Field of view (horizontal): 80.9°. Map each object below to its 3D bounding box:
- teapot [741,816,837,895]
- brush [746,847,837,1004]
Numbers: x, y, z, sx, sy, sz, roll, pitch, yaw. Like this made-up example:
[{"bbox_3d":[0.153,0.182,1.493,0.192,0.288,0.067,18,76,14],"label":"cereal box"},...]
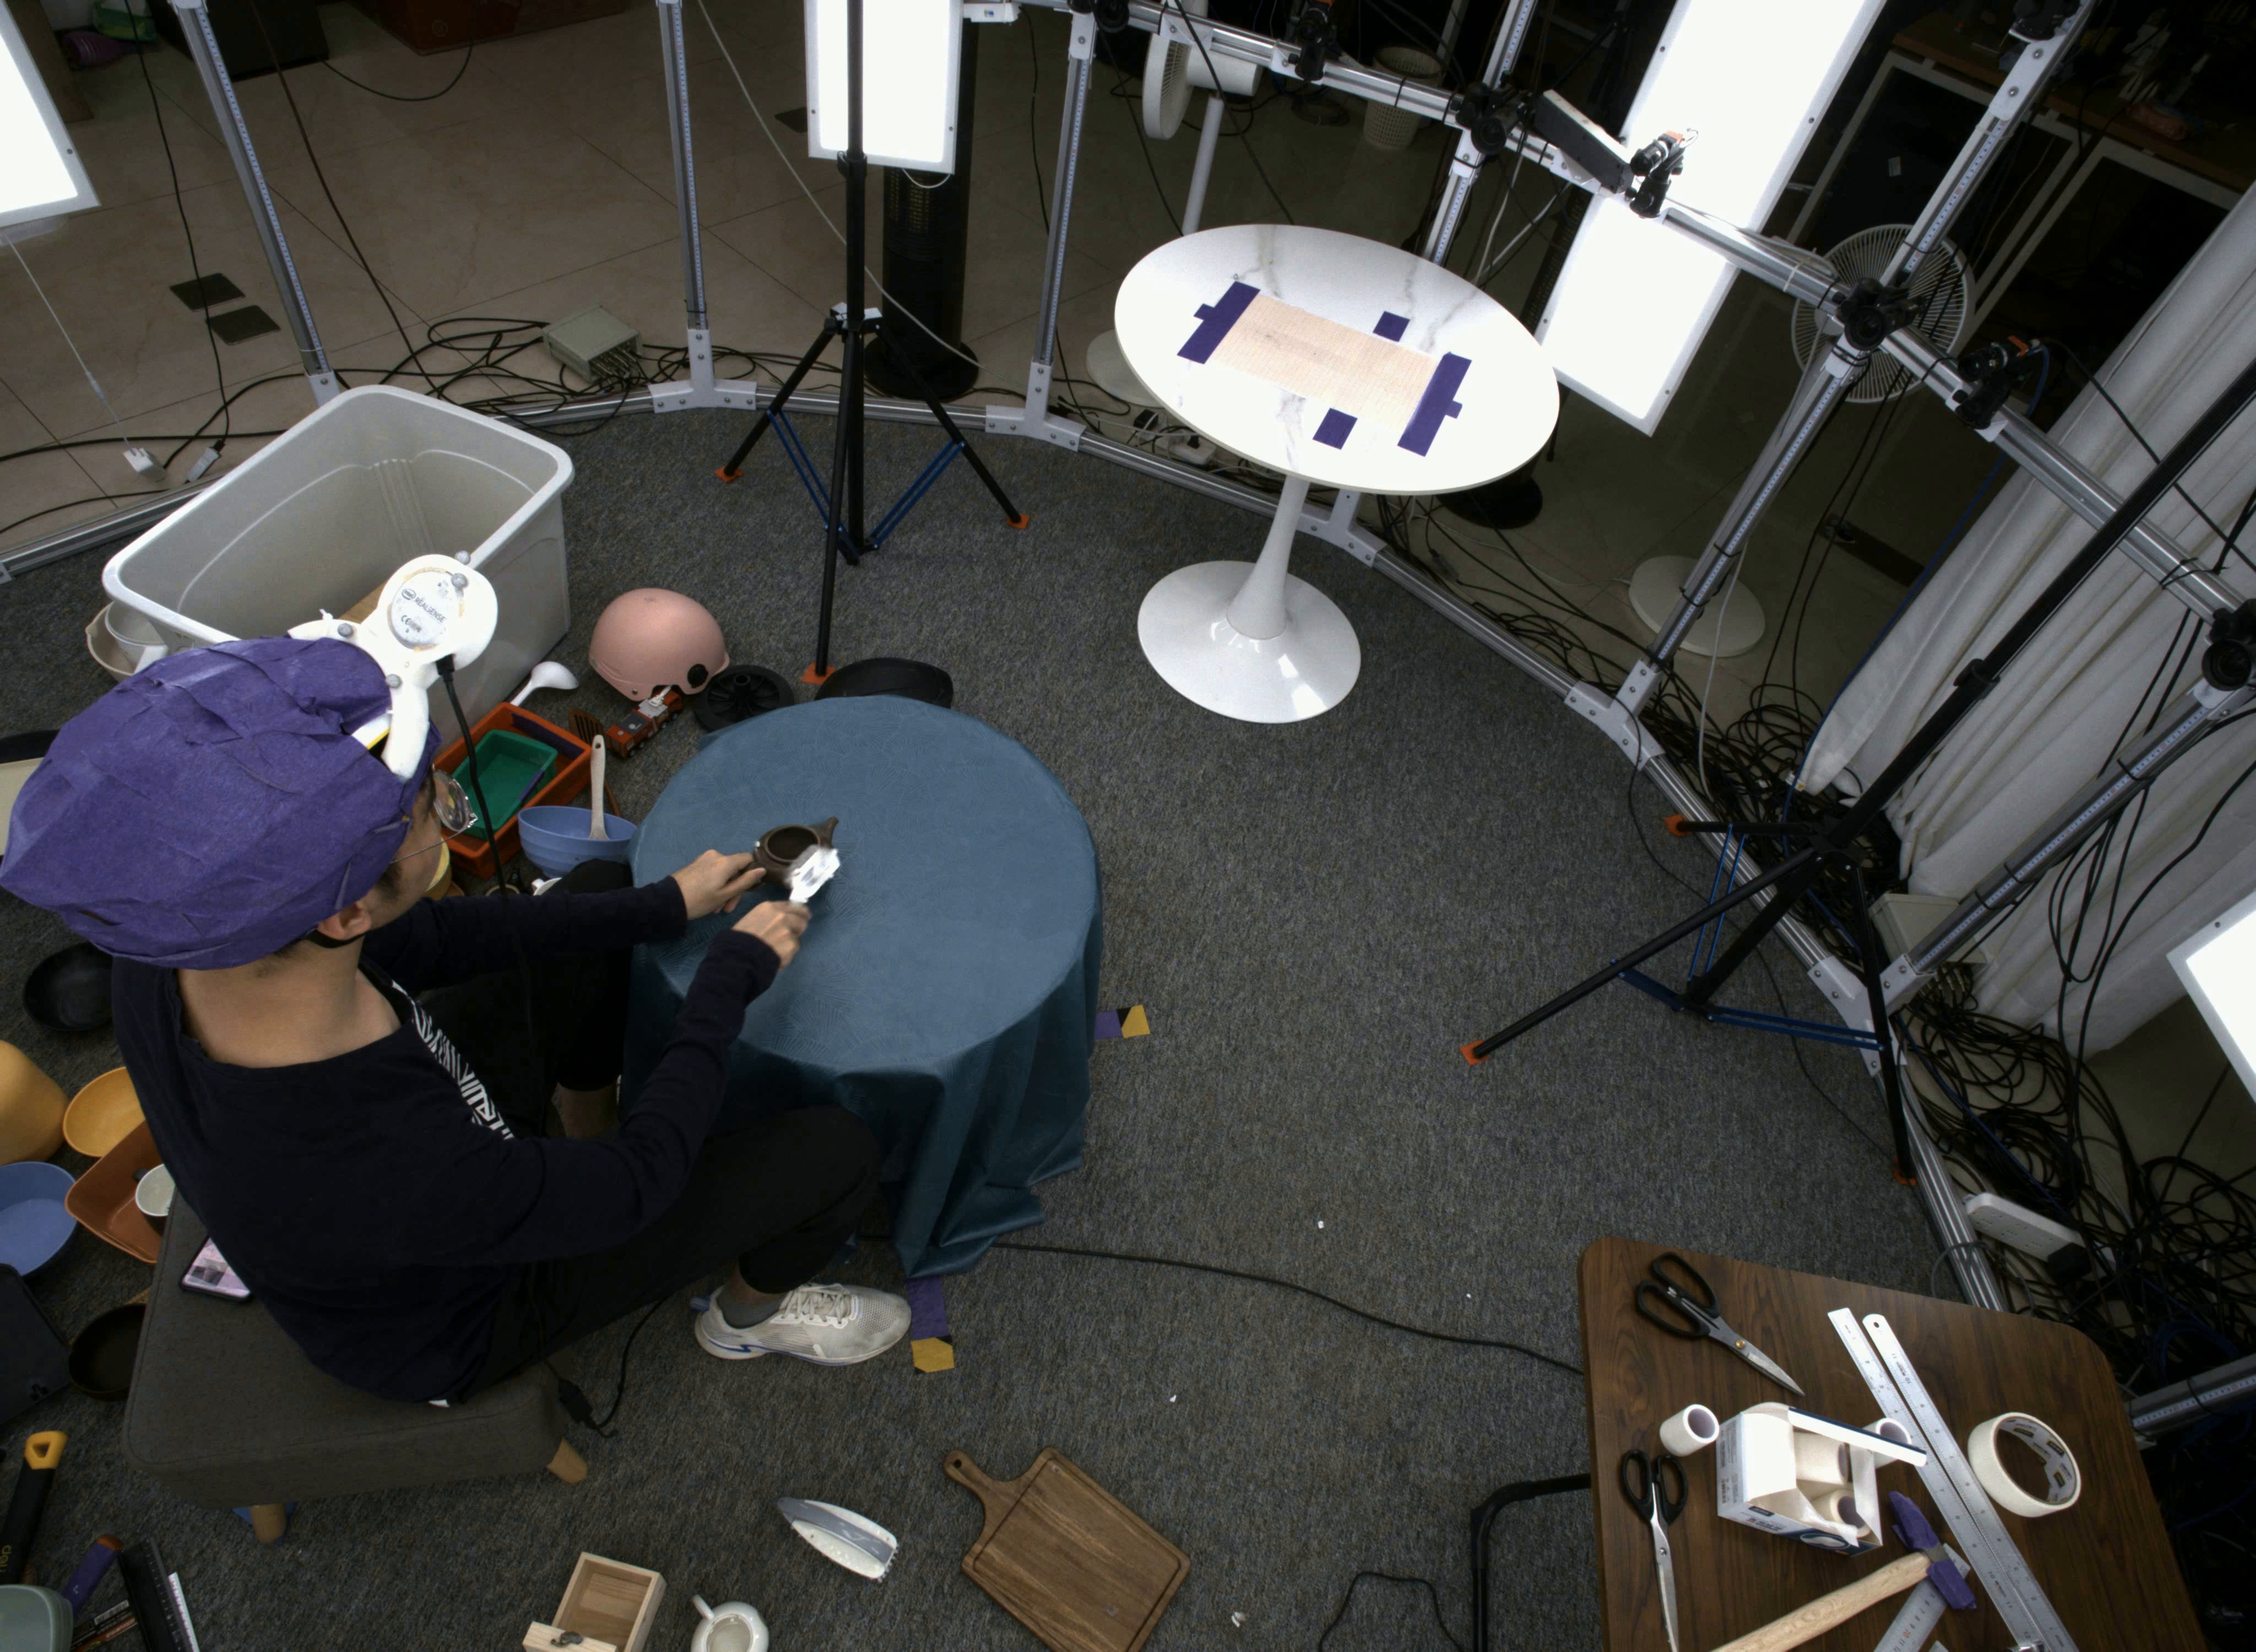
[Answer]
[{"bbox_3d":[-0.430,0.040,1.654,0.100,0.055,0.154,30,44,21],"label":"teapot"},{"bbox_3d":[-0.412,0.114,1.540,0.049,0.036,0.240,-9,40,26],"label":"brush"}]
